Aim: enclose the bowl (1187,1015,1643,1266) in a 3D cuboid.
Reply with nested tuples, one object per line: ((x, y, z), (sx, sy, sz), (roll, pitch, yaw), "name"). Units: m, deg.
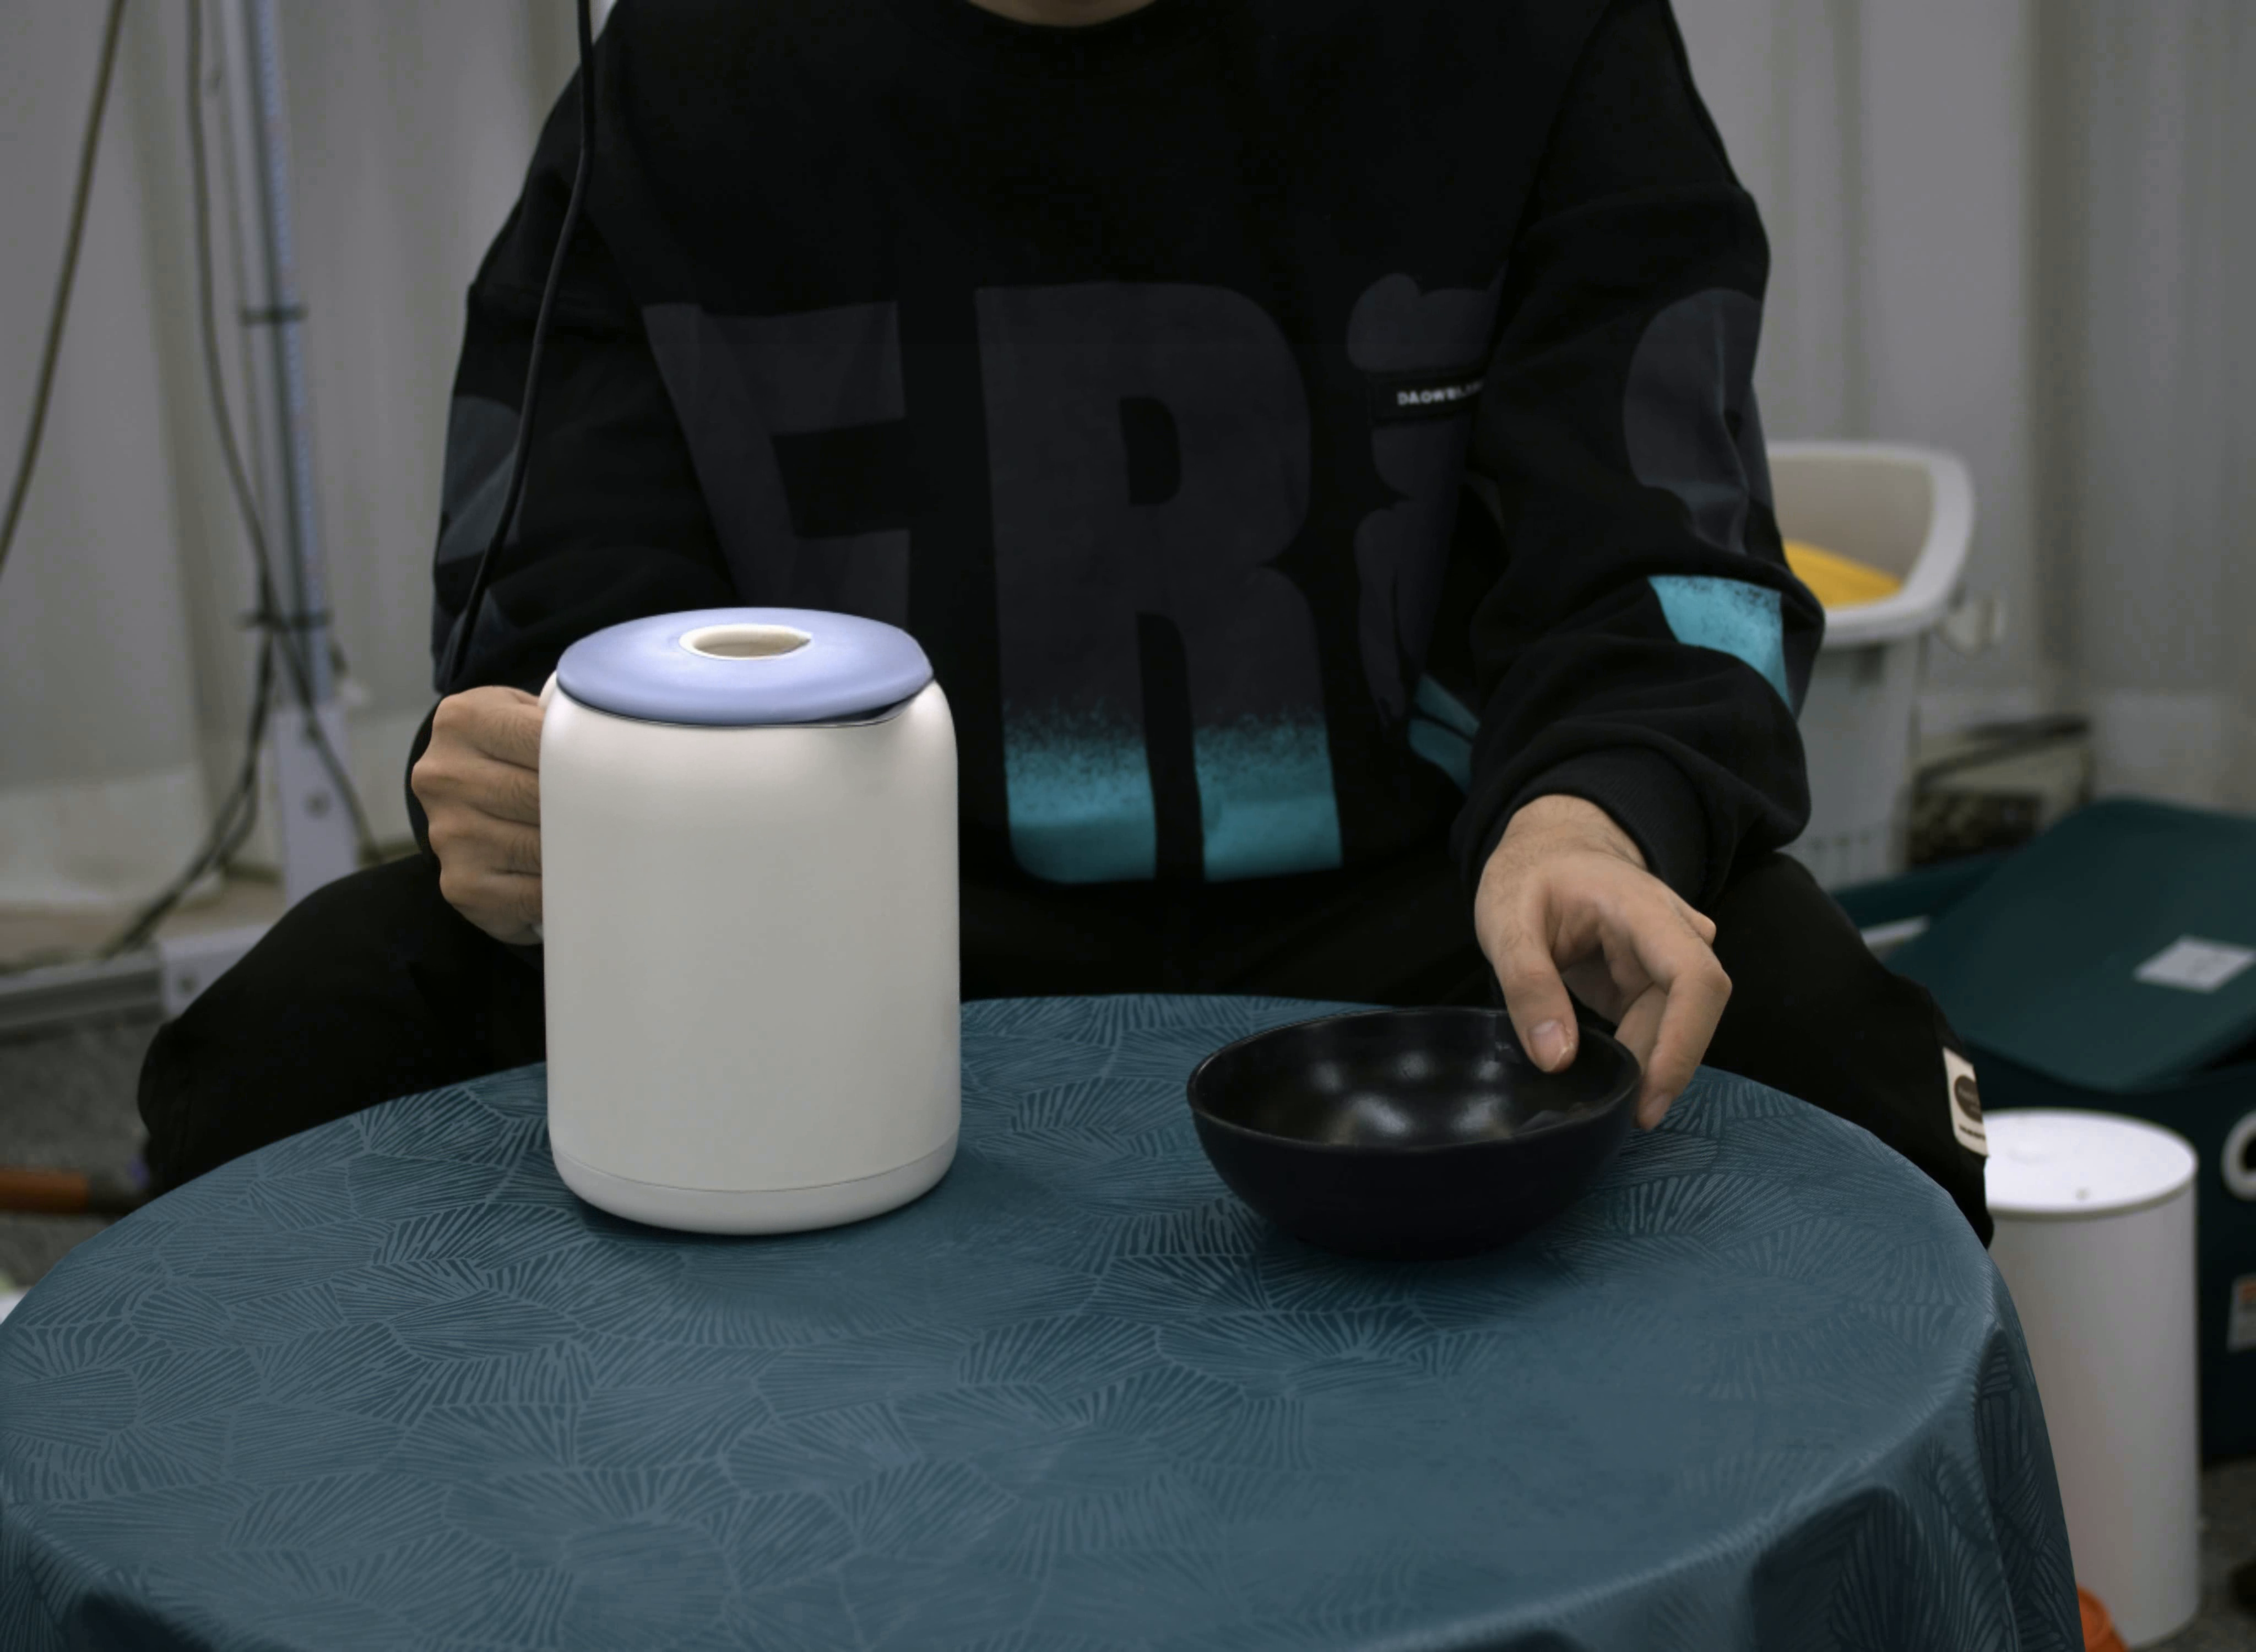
((0.088, 0.100, 1.661), (0.139, 0.049, 0.141), (-4, 13, 1), "bowl")

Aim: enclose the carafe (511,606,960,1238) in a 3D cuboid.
((-0.135, 0.024, 1.737), (0.132, 0.182, 0.192), (-12, 17, -39), "carafe")
